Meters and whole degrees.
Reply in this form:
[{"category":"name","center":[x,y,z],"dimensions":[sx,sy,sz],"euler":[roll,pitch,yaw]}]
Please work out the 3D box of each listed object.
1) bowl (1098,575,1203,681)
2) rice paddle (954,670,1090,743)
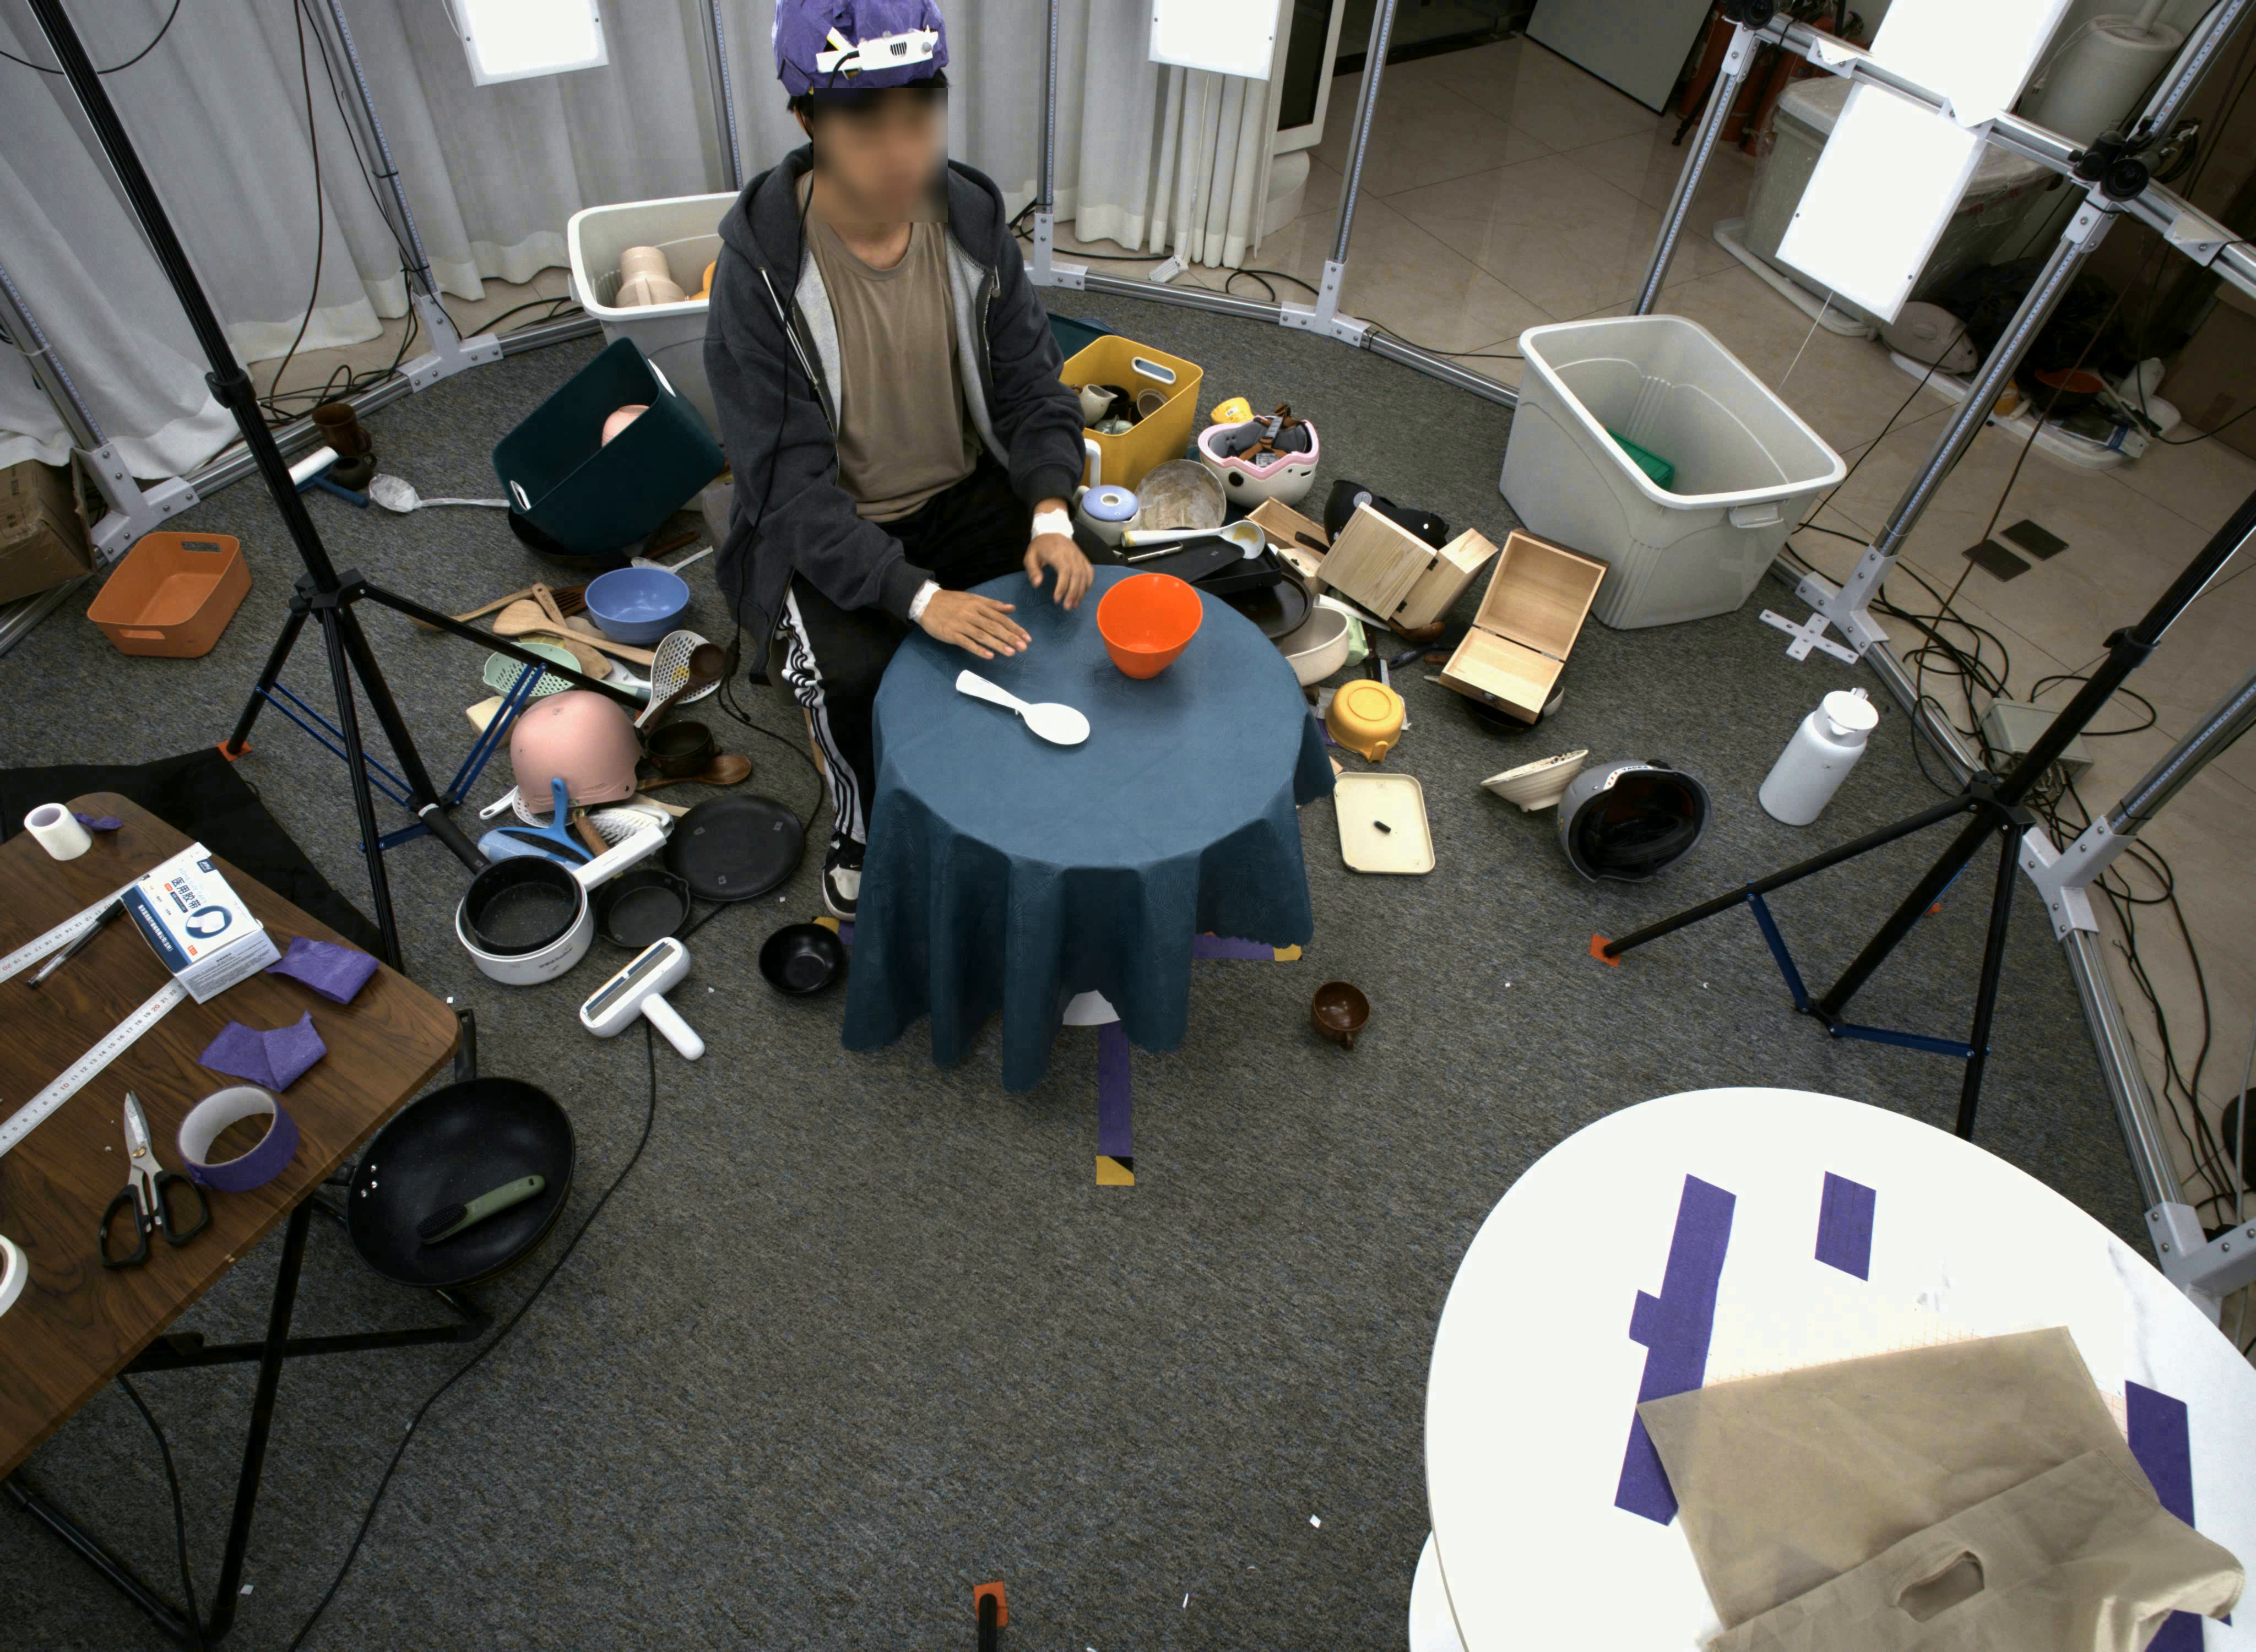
[{"category":"bowl","center":[0.030,-0.274,1.842],"dimensions":[0.148,0.102,0.152],"euler":[1,50,-2]},{"category":"rice paddle","center":[-0.146,-0.167,1.782],"dimensions":[0.207,0.029,0.070],"euler":[24,53,16]}]
